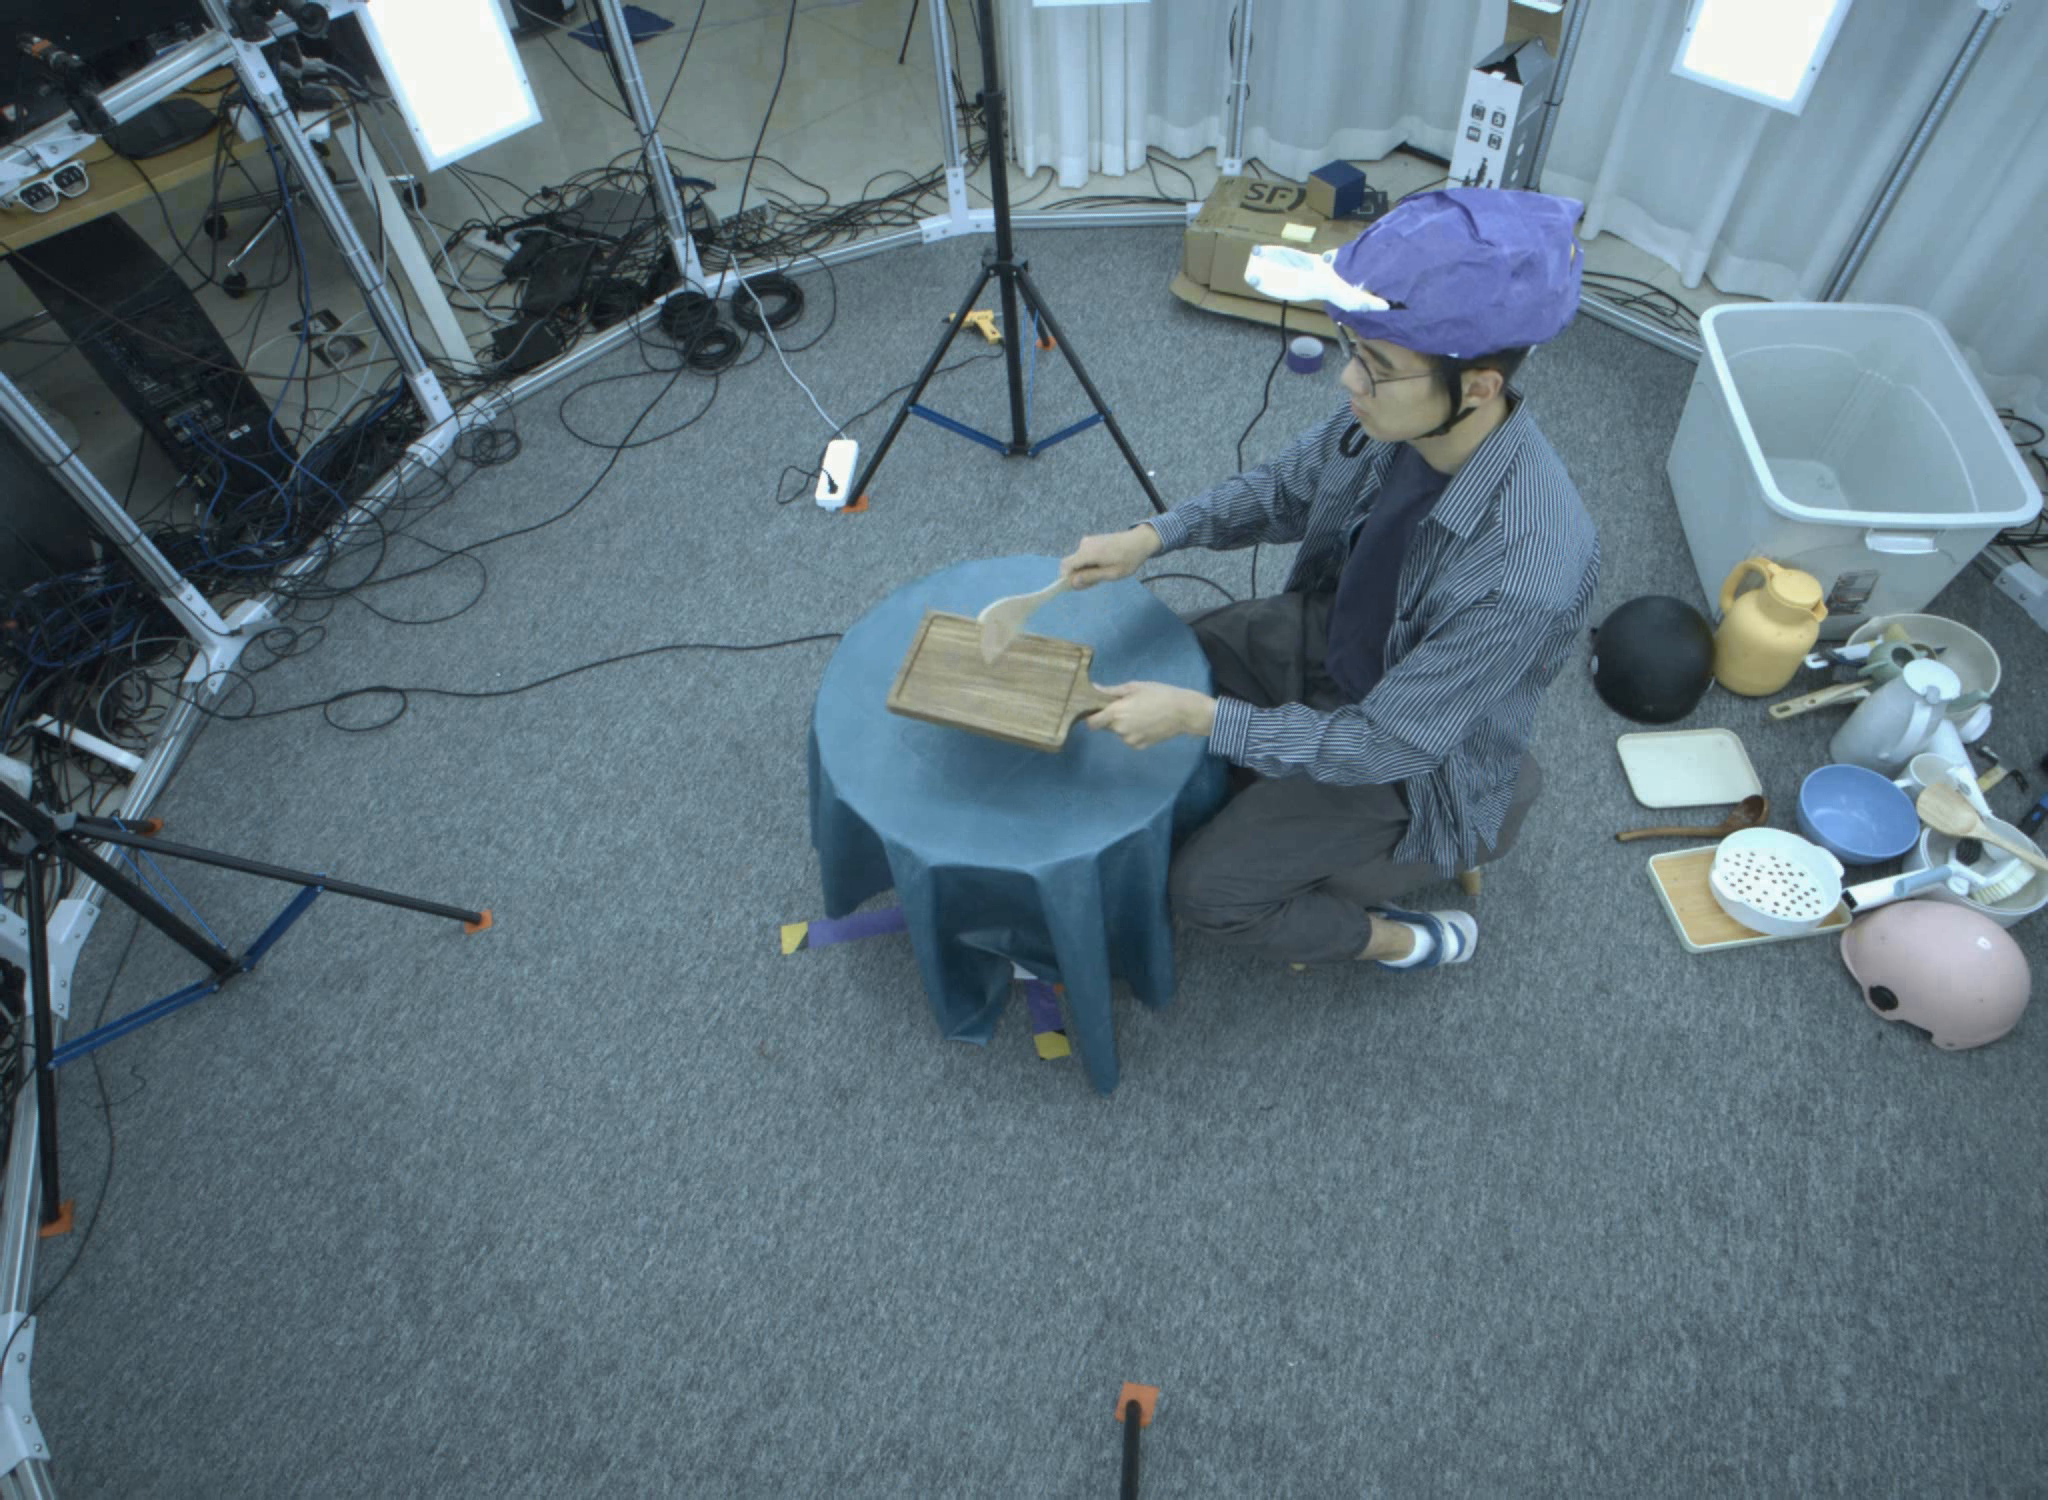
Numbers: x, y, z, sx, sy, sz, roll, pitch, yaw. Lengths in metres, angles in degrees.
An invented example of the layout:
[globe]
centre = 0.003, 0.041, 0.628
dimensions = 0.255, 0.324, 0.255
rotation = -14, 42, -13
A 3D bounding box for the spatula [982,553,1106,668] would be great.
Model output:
[spatula]
centre = 0.033, -0.212, 1.741
dimensions = 0.016, 0.081, 0.331
rotation = 19, 38, 29

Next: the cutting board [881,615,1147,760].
[cutting board]
centre = -0.003, -0.079, 1.700
dimensions = 0.351, 0.023, 0.200
rotation = 15, 51, 4
